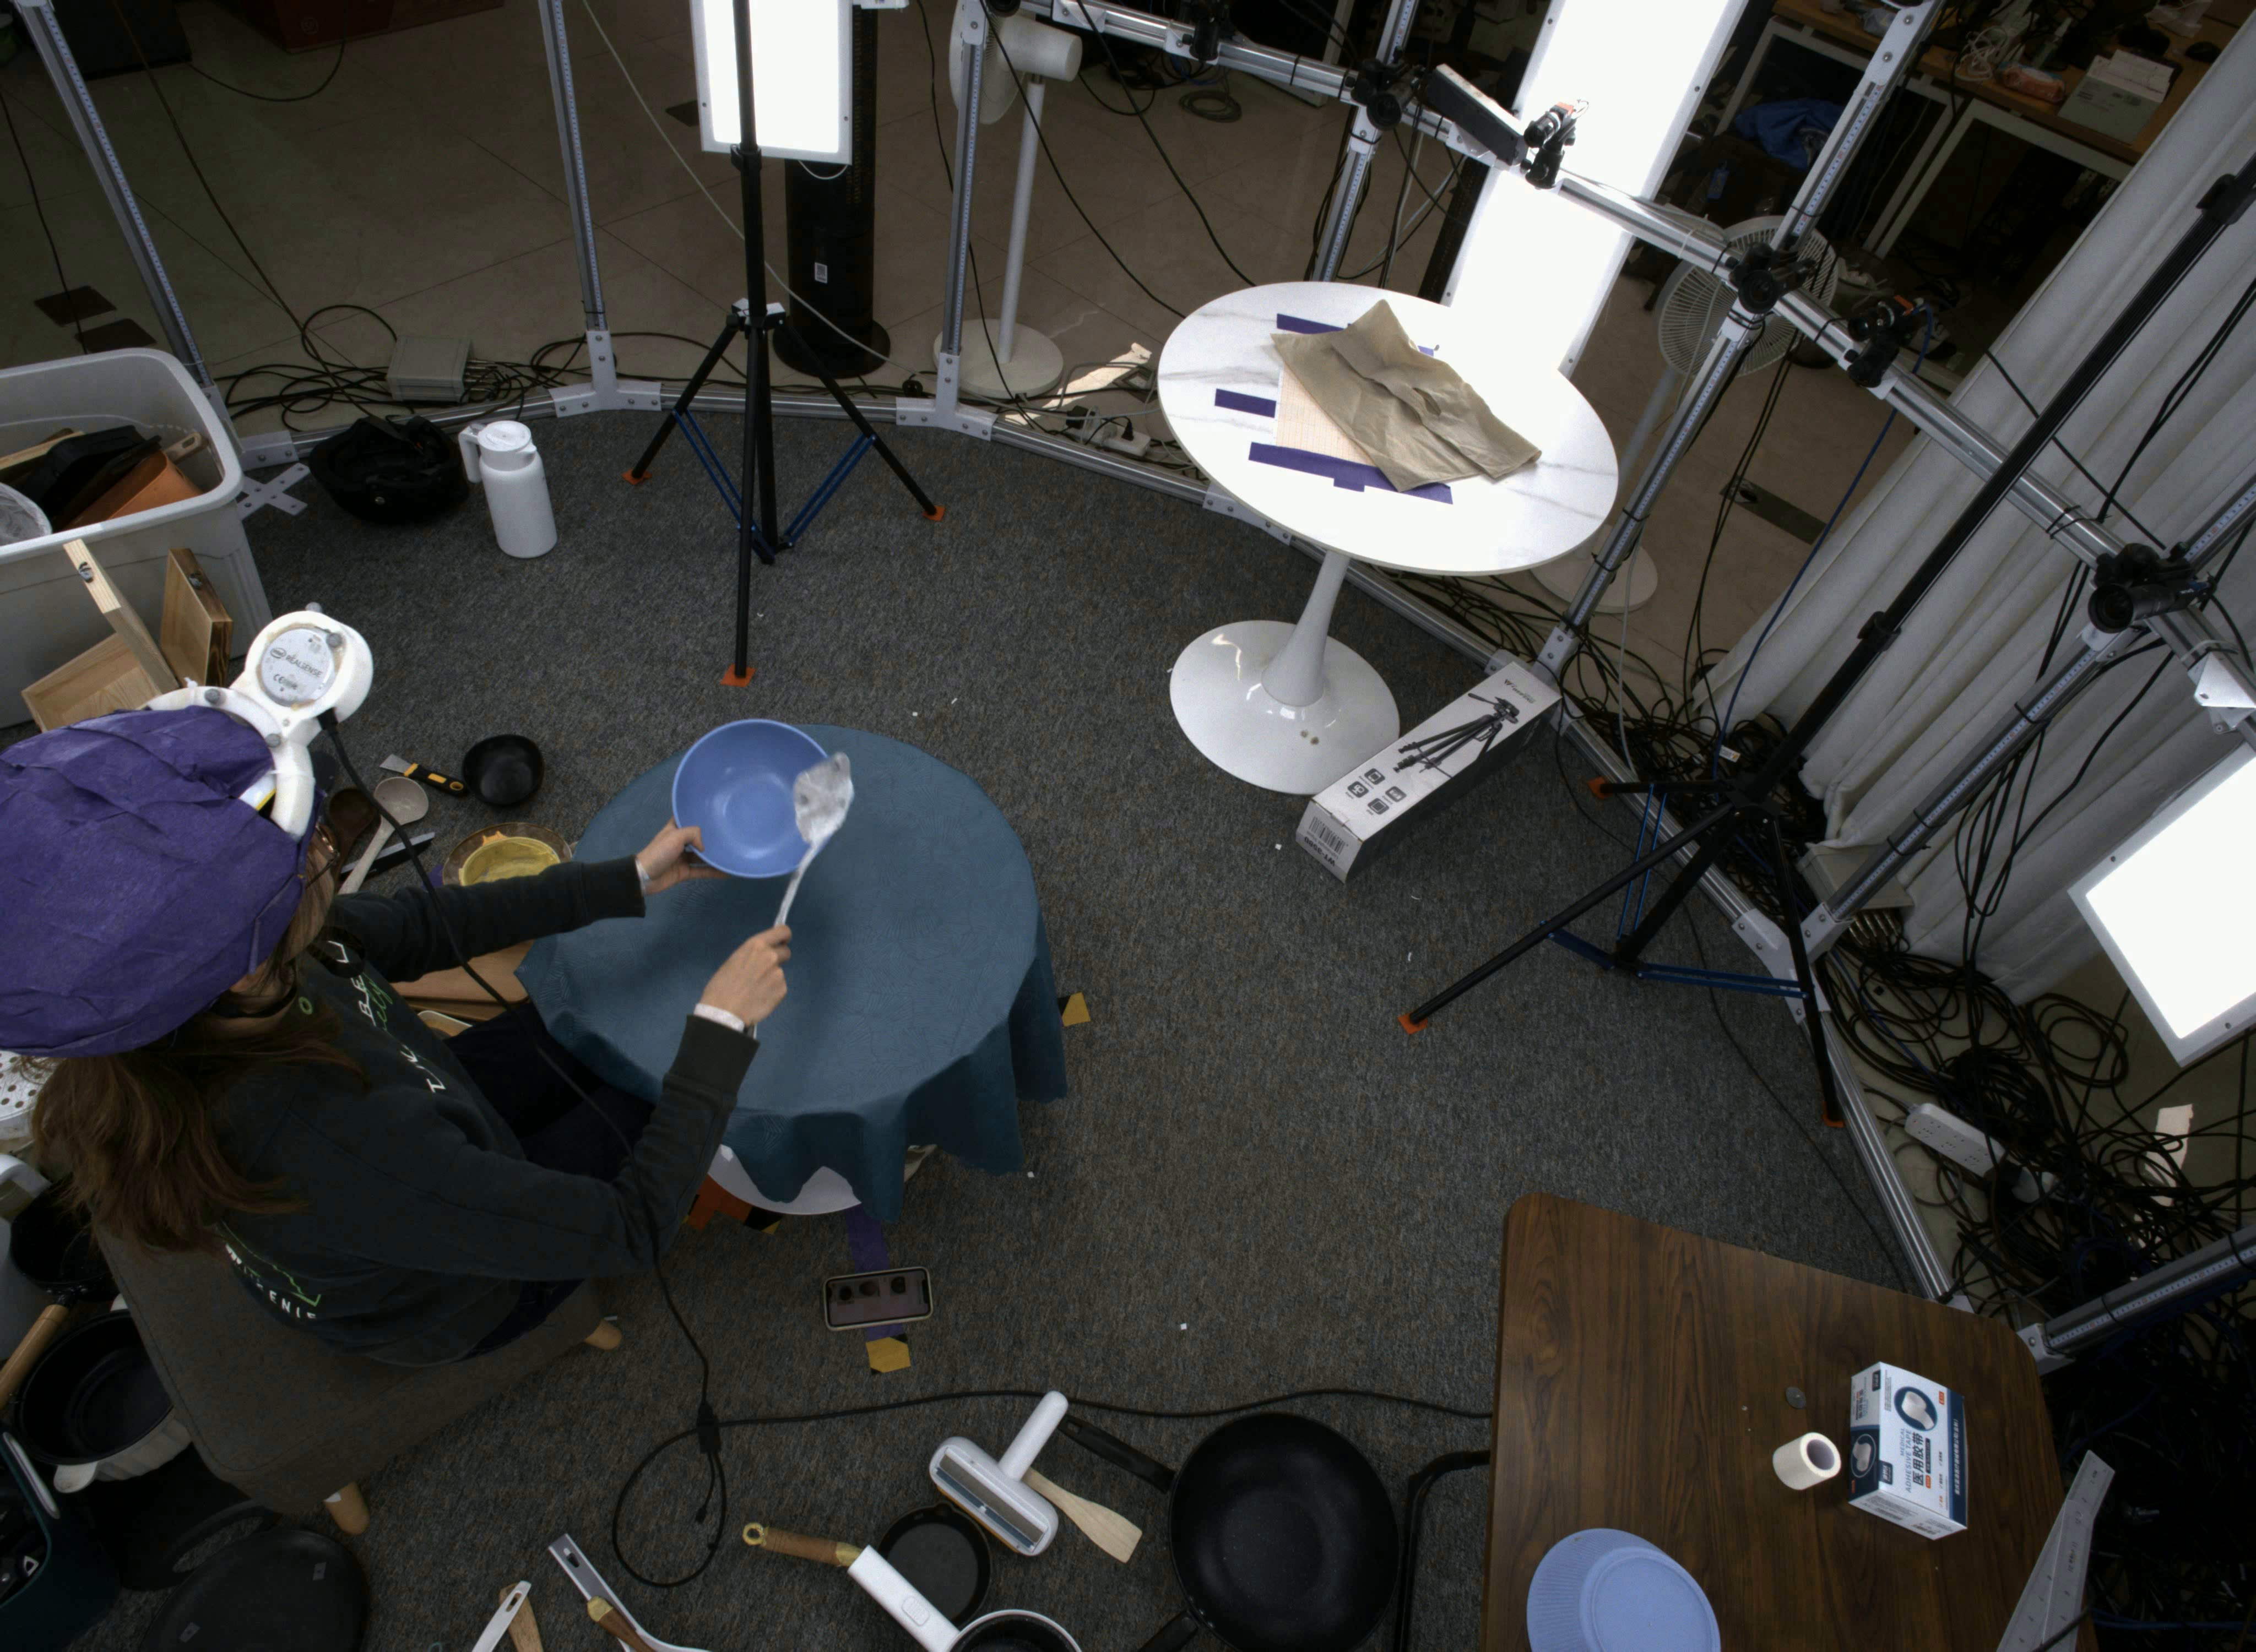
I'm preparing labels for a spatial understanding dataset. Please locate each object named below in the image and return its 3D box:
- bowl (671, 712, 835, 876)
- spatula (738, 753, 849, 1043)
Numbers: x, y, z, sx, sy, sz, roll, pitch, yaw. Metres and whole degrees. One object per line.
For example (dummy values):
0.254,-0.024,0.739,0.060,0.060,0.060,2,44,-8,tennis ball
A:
-0.455,-0.029,1.580,0.198,0.095,0.196,5,77,-18,bowl
-0.375,0.068,1.420,0.046,0.096,0.359,46,38,-35,spatula
